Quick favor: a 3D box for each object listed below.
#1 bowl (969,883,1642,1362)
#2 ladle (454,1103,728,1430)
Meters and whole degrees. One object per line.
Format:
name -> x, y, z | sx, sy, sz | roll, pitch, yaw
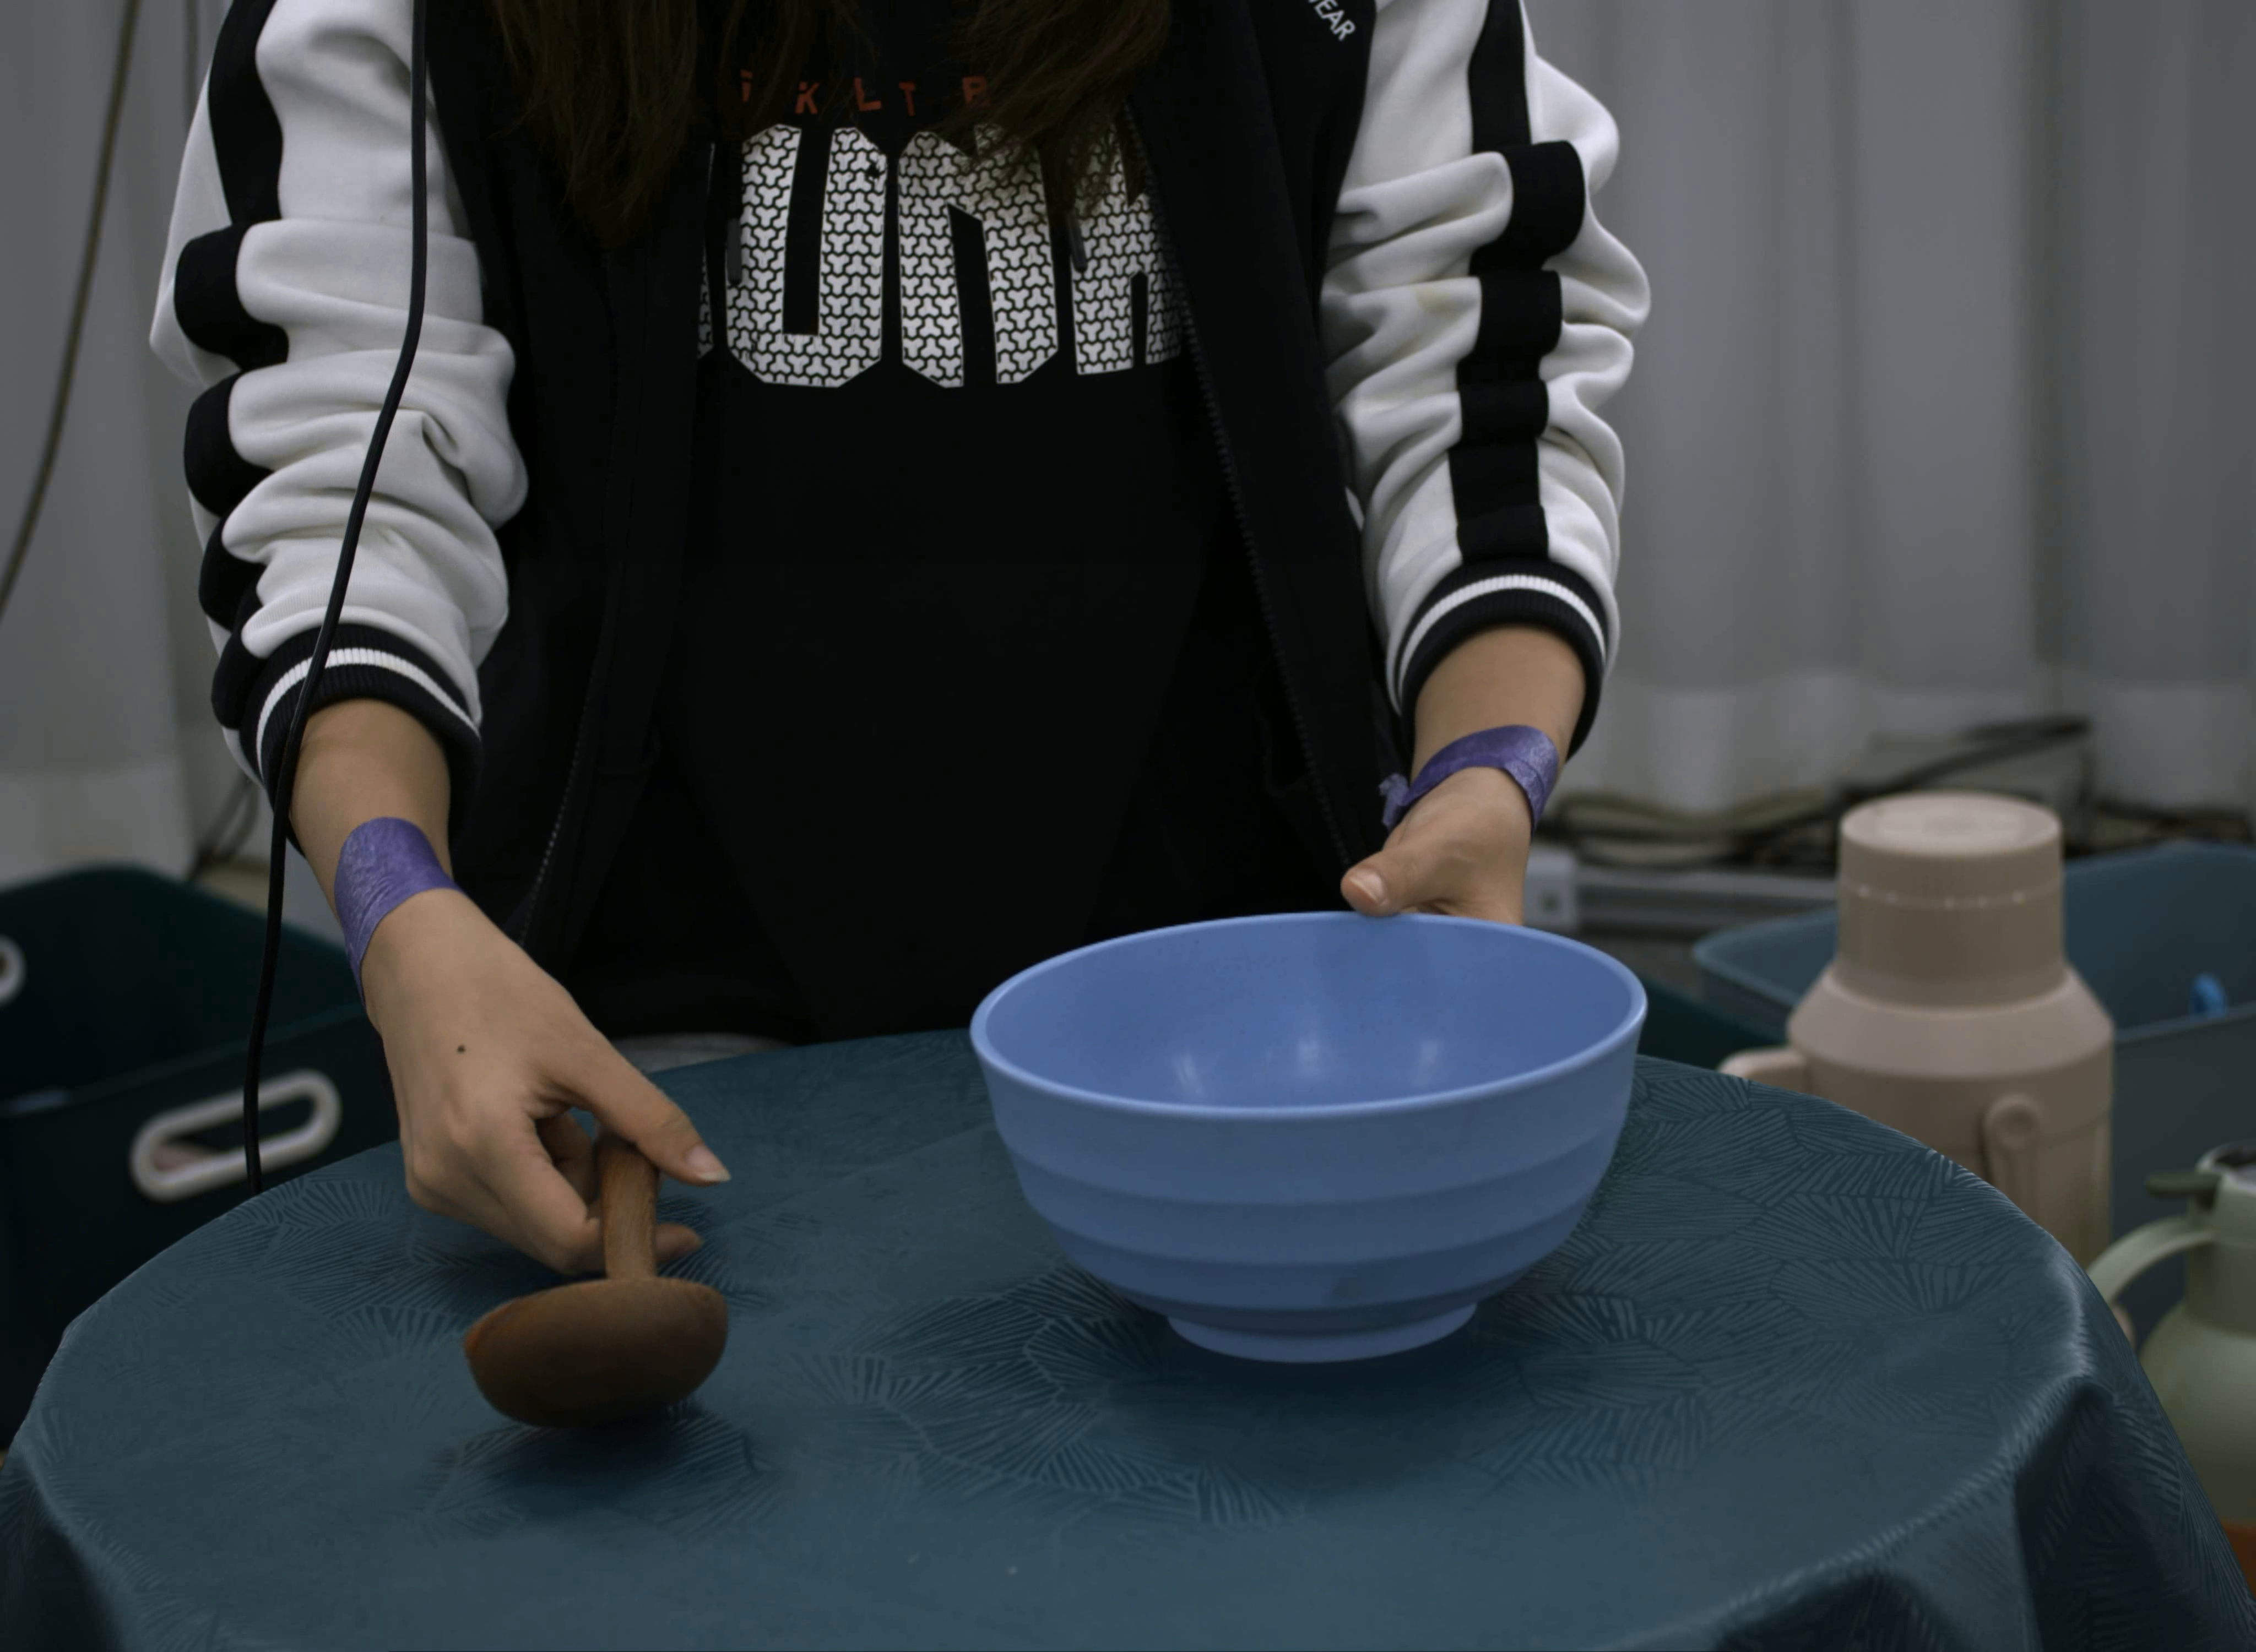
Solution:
bowl -> 0.057, 0.094, 1.598 | 0.196, 0.095, 0.198 | -7, 19, 2
ladle -> -0.152, 0.113, 1.609 | 0.076, 0.065, 0.262 | -8, 19, 0
